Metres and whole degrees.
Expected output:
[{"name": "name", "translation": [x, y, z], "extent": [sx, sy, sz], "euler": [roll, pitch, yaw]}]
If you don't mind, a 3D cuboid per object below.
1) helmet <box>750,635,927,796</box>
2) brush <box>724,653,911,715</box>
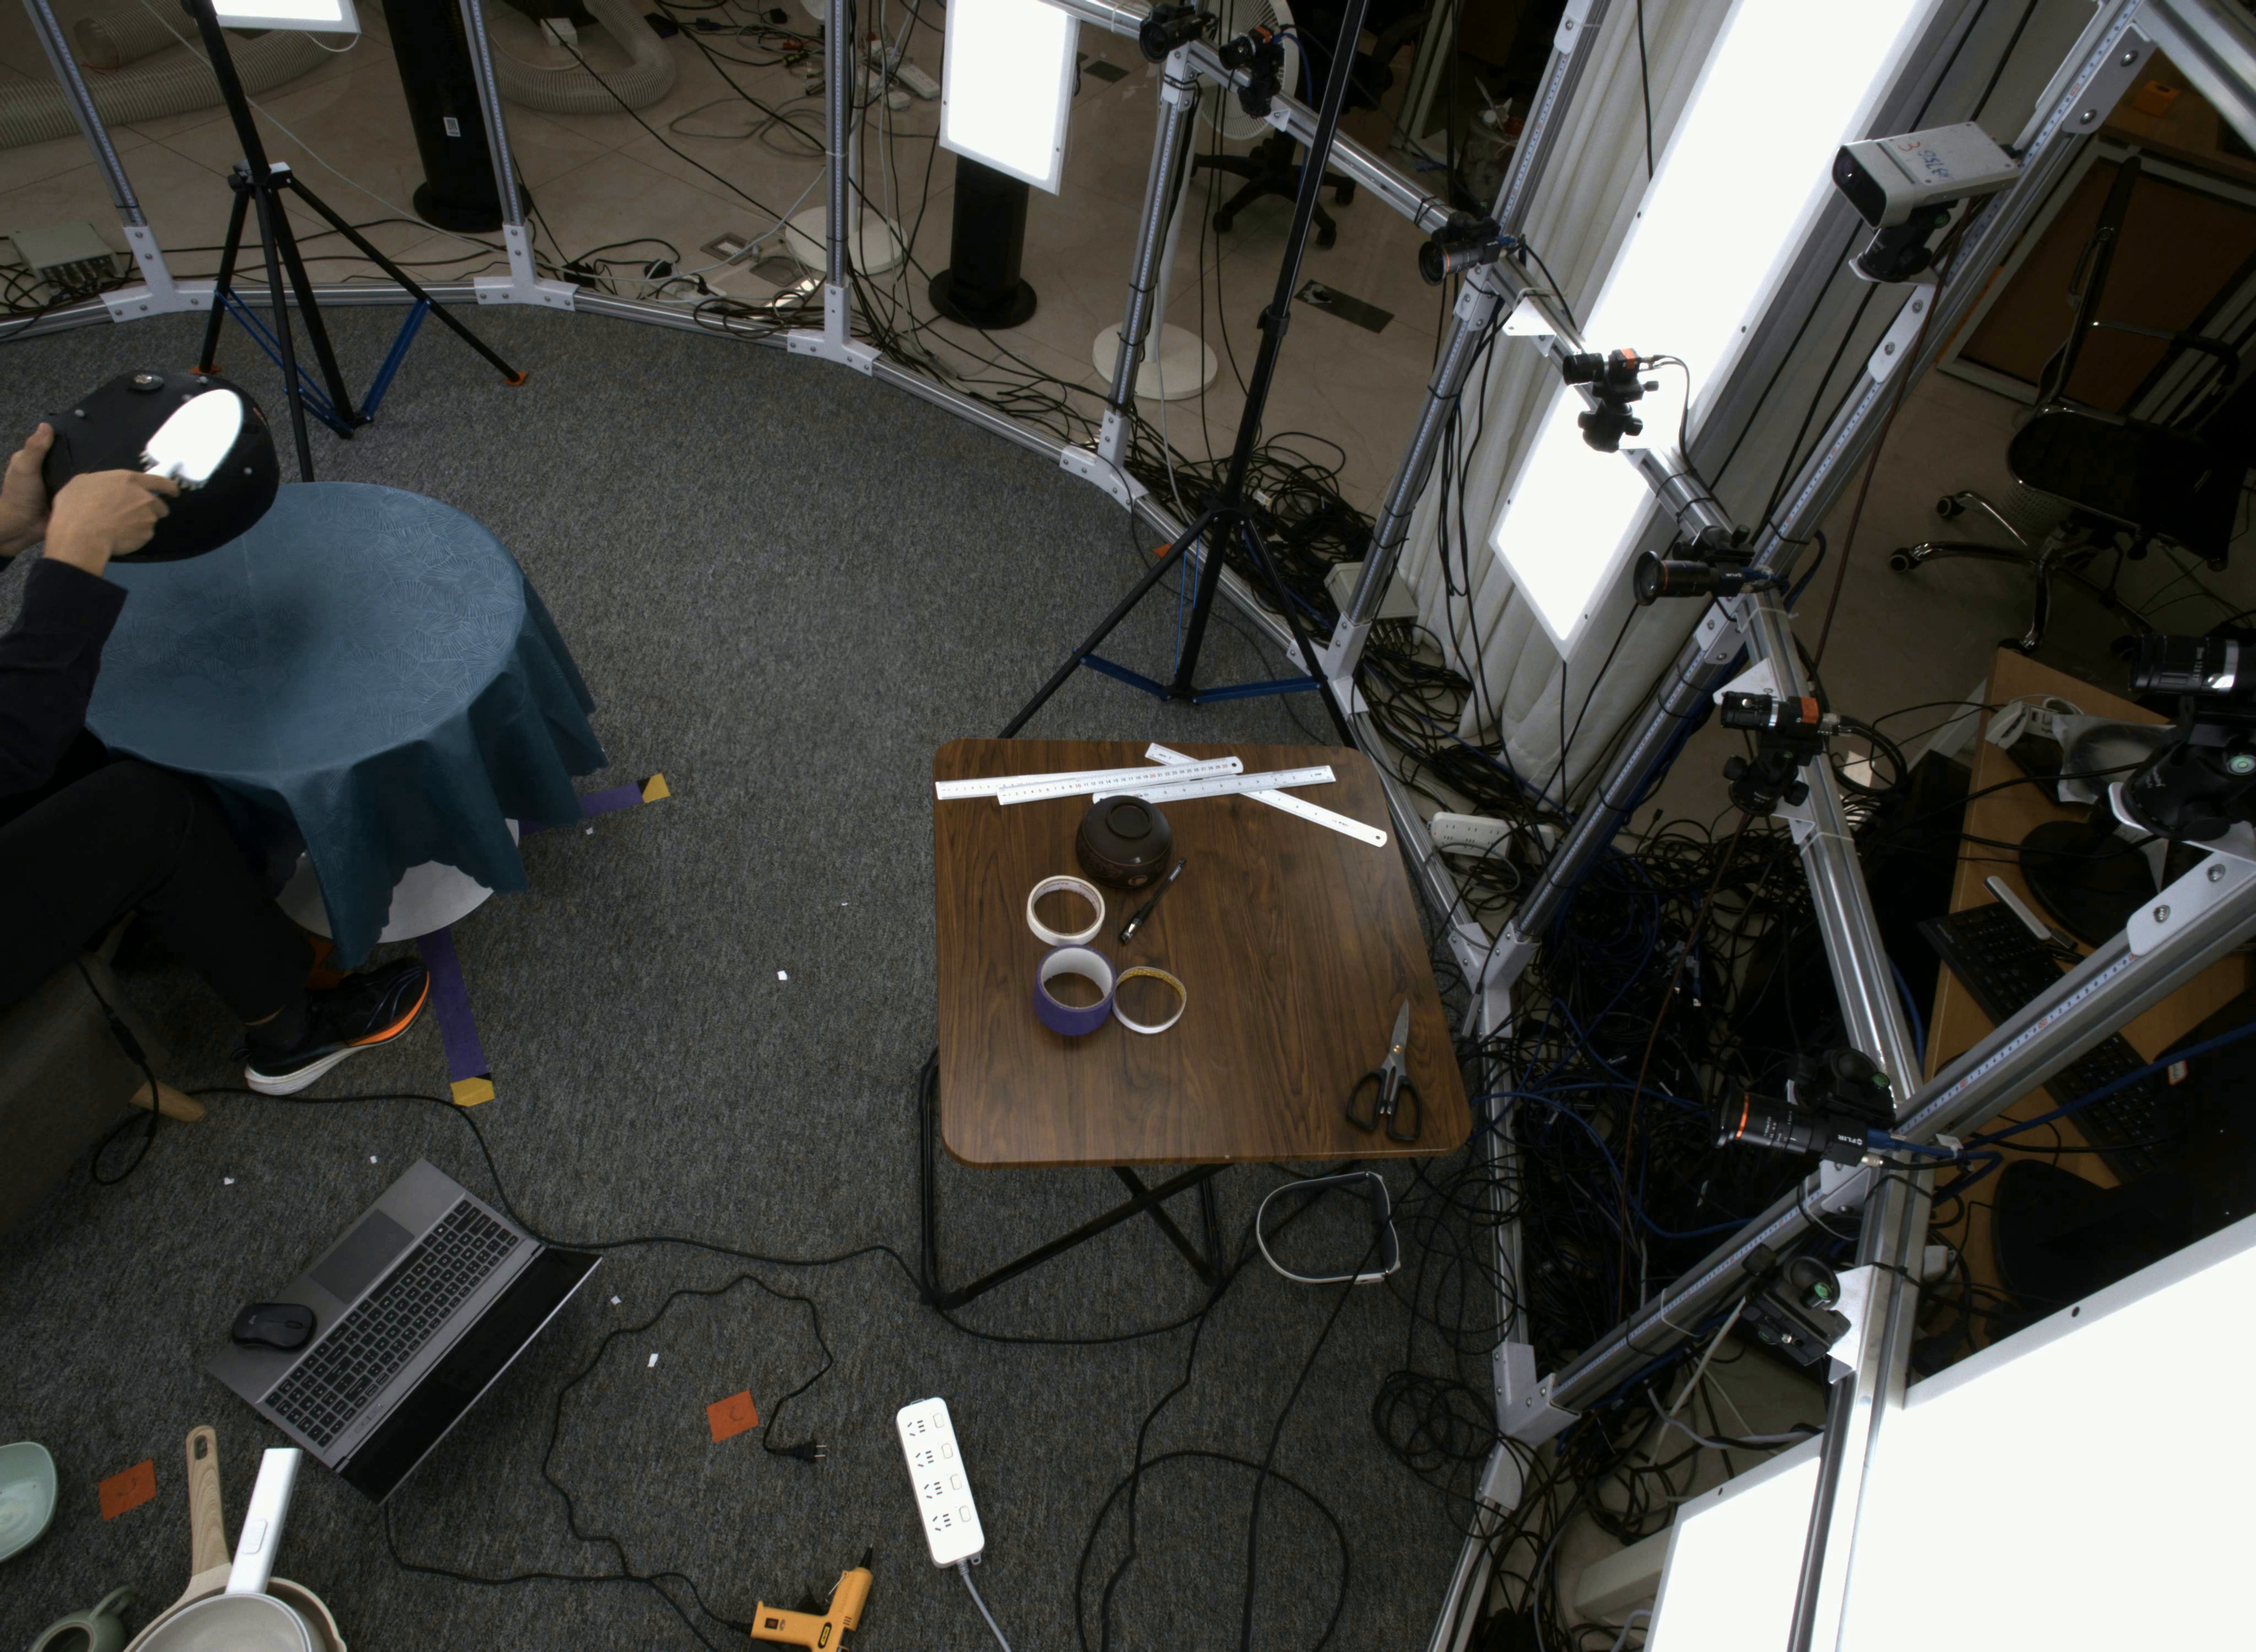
[{"name": "helmet", "translation": [-0.438, -0.157, 1.989], "extent": [0.278, 0.253, 0.167], "euler": [-4, 23, -18]}, {"name": "brush", "translation": [-0.445, -0.190, 1.839], "extent": [0.080, 0.087, 0.328], "euler": [23, 29, 32]}]
